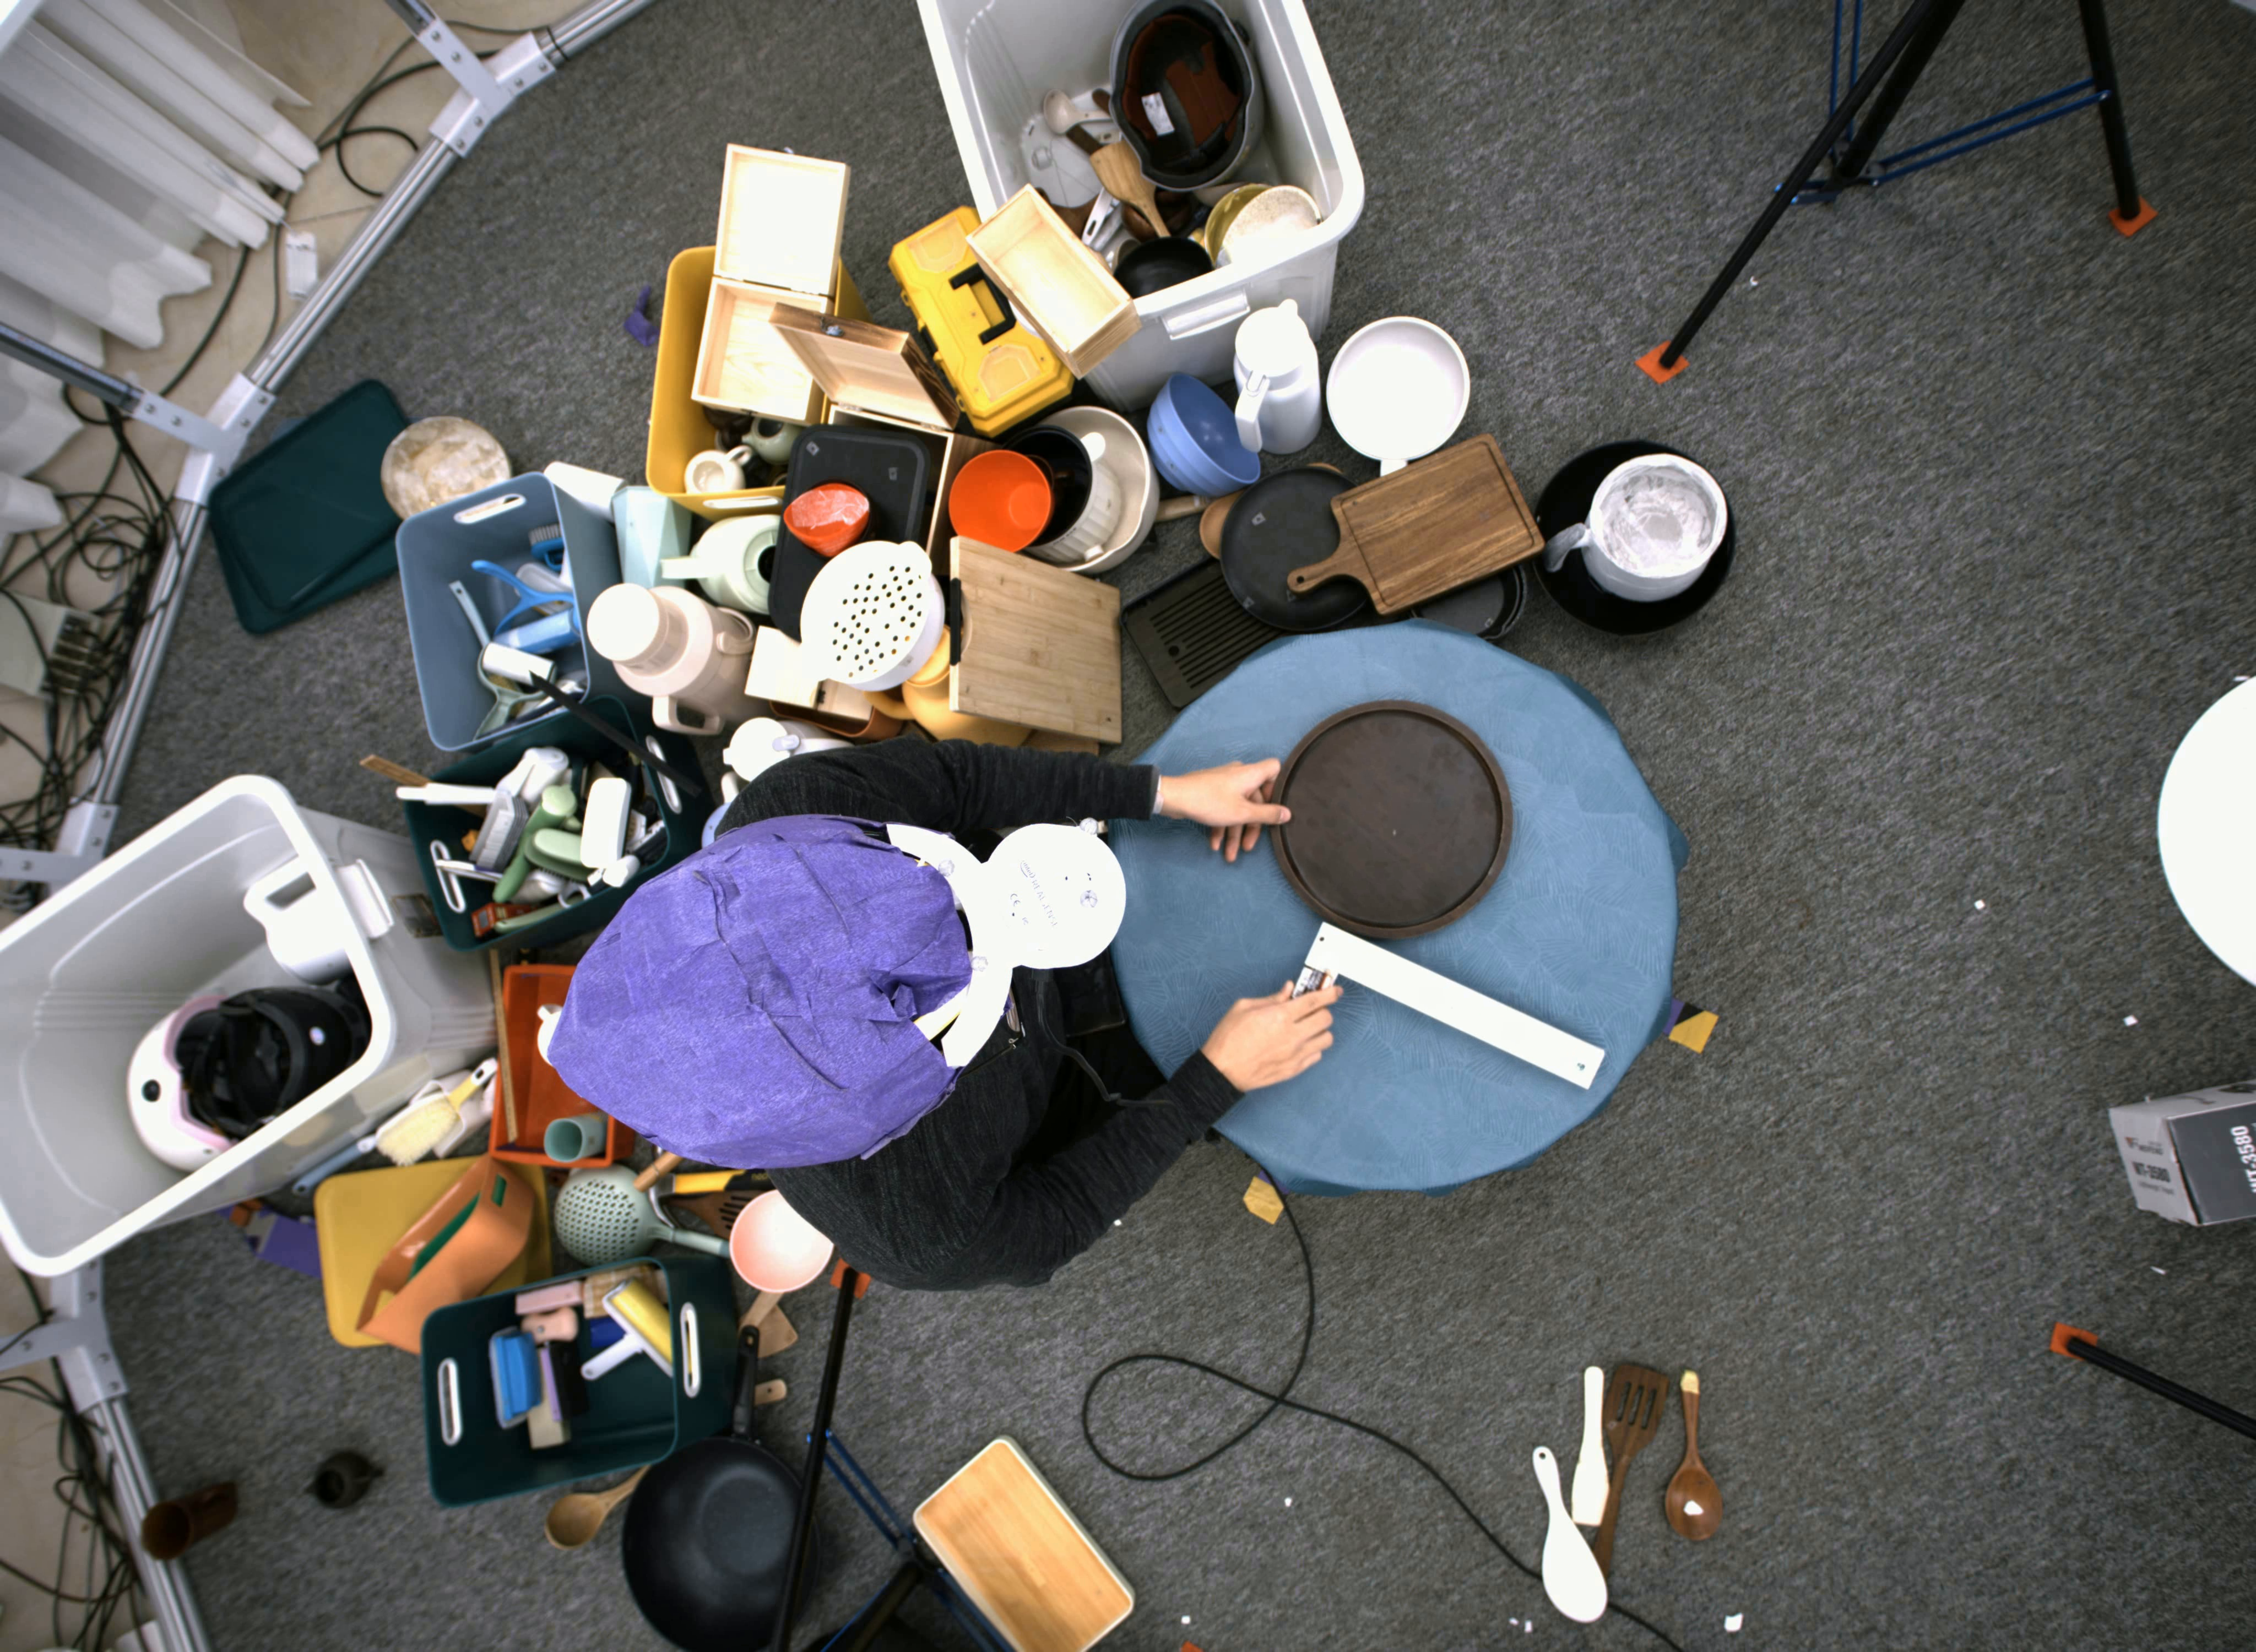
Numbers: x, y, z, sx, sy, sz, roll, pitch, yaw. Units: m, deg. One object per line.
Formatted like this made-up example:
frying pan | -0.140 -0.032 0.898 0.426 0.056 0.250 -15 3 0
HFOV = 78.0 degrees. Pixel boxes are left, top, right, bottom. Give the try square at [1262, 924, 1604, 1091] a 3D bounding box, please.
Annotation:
try square | 0.308 0.231 1.406 0.313 0.016 0.153 25 97 5

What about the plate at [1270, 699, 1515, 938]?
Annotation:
plate | 0.277 -0.010 1.452 0.256 0.029 0.254 -1 87 9
